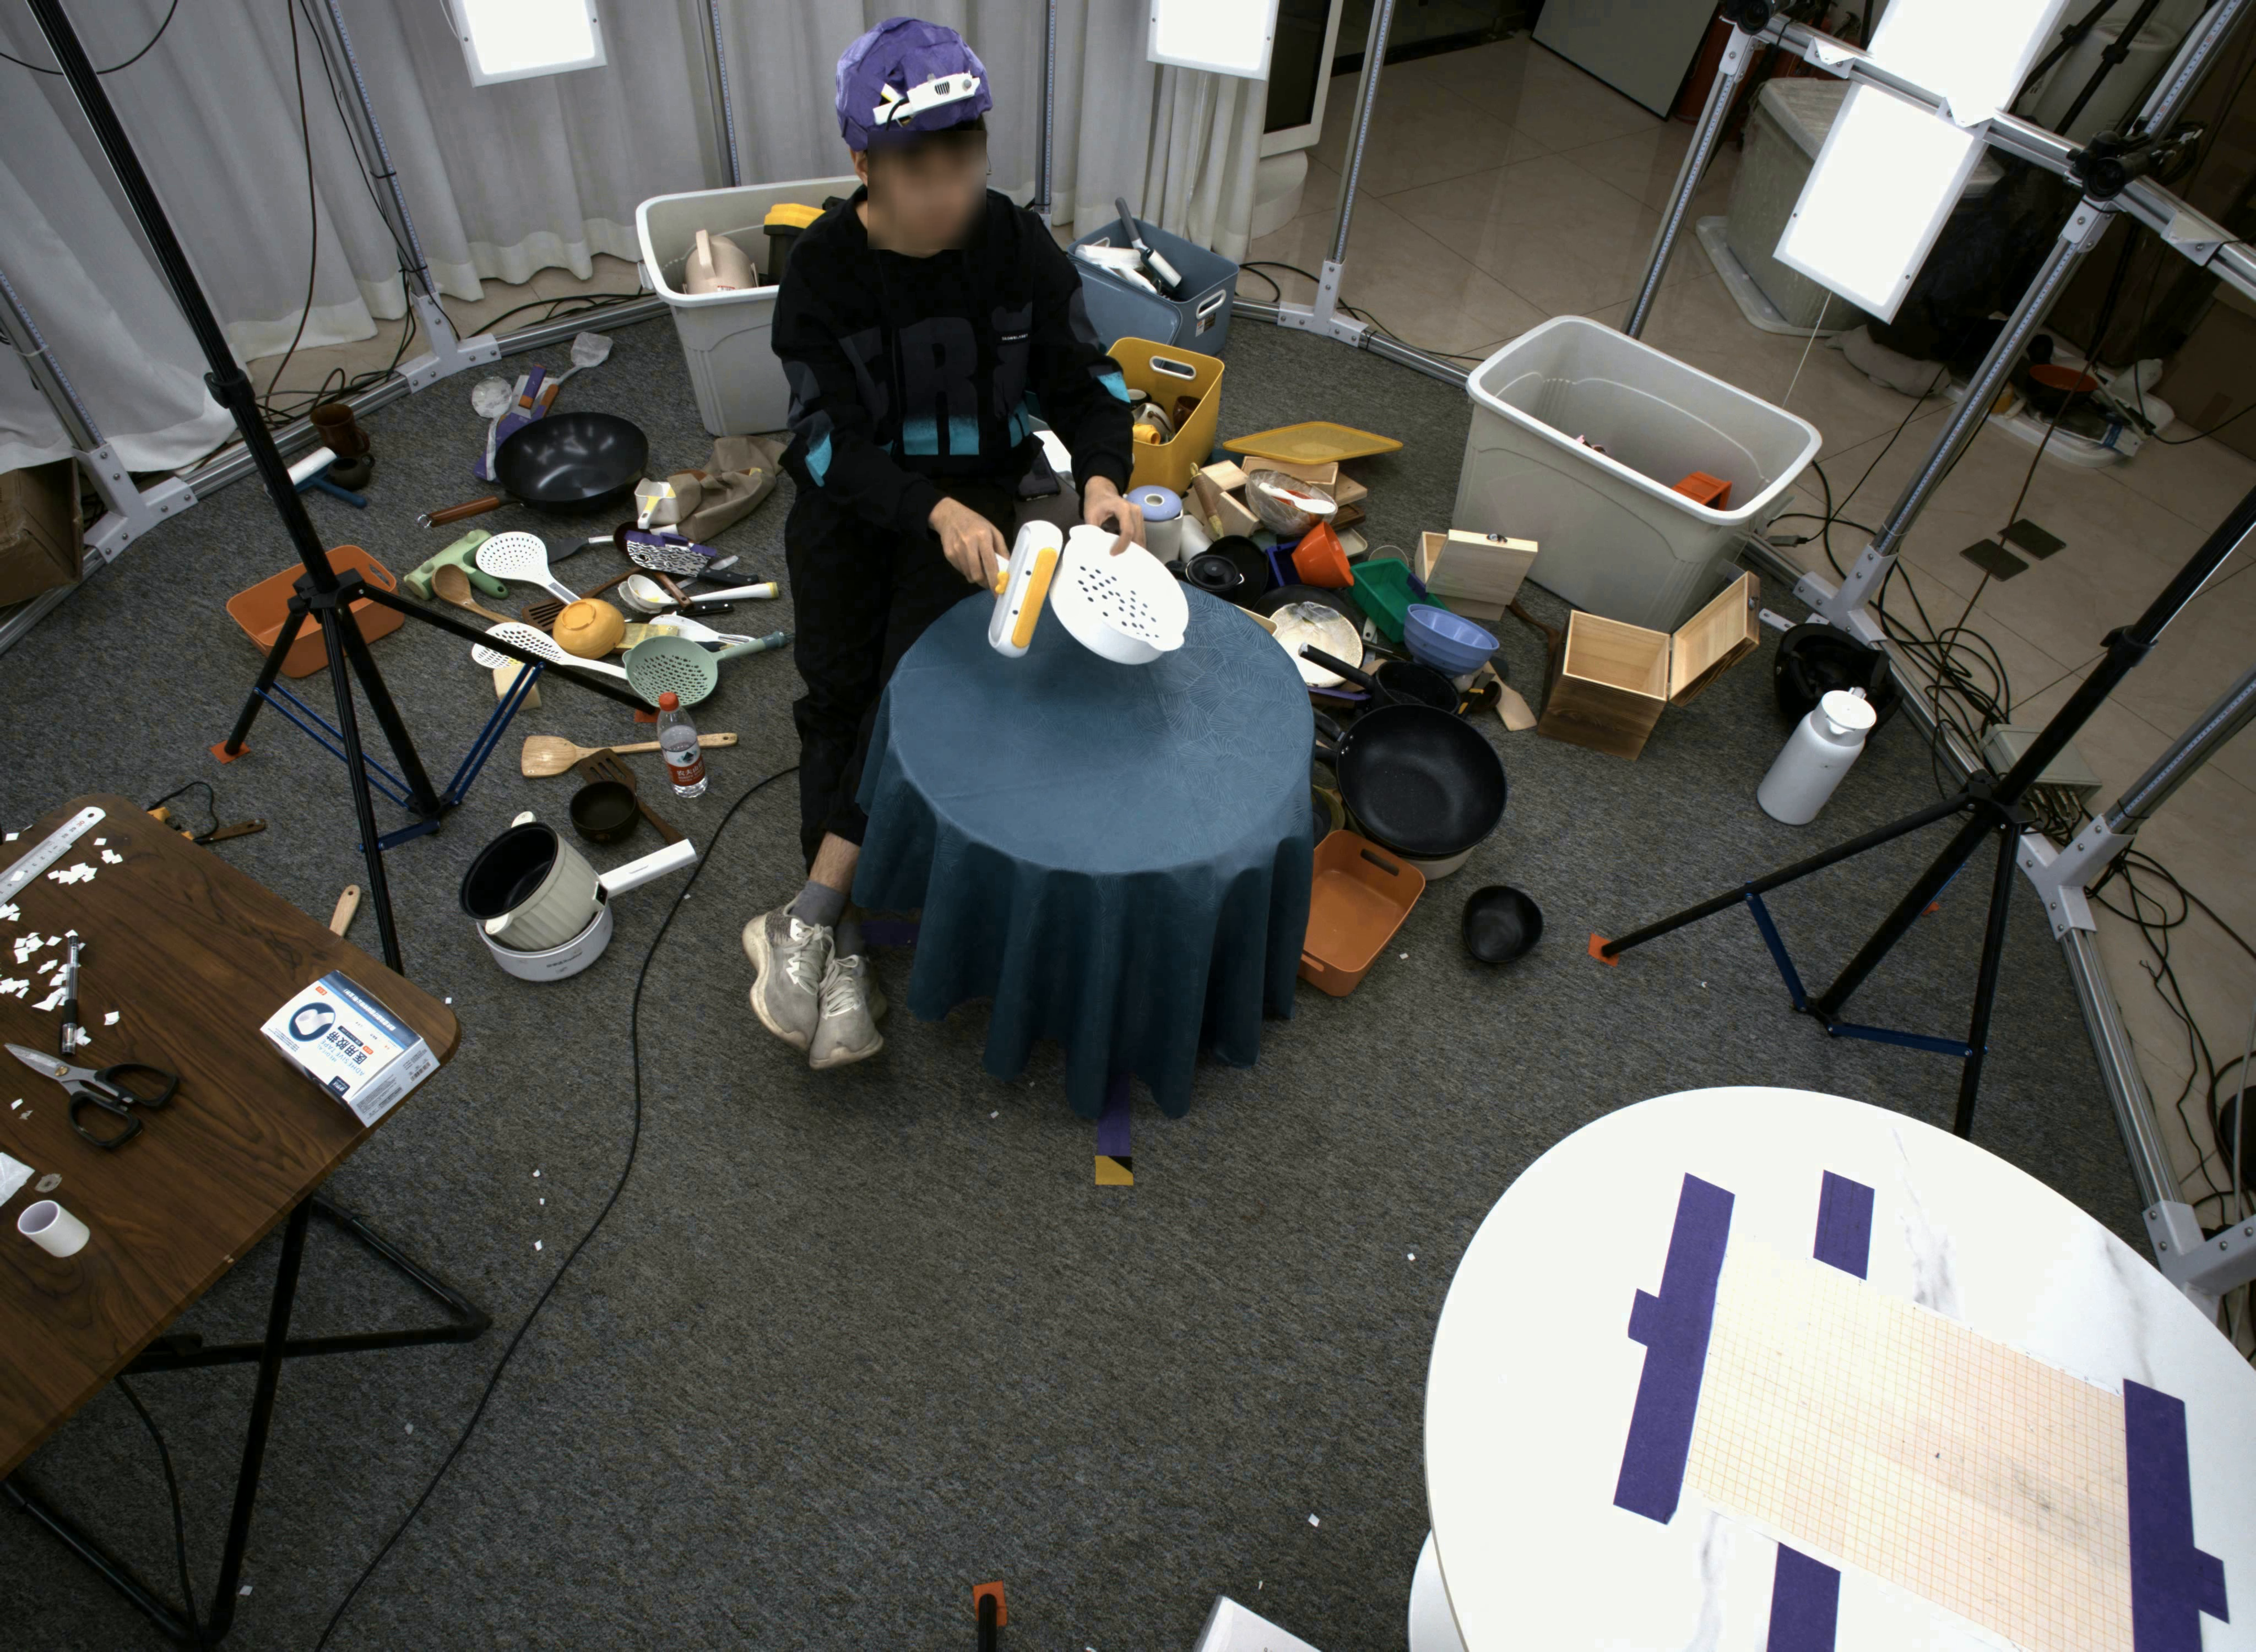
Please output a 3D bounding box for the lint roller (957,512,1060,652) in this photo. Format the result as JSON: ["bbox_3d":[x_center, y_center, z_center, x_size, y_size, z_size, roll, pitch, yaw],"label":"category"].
[{"bbox_3d":[-0.175,-0.359,1.809,0.074,0.190,0.196,0,25,-33],"label":"lint roller"}]

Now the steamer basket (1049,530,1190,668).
[{"bbox_3d":[-0.014,-0.311,1.792,0.202,0.068,0.234,-18,64,-45],"label":"steamer basket"}]
